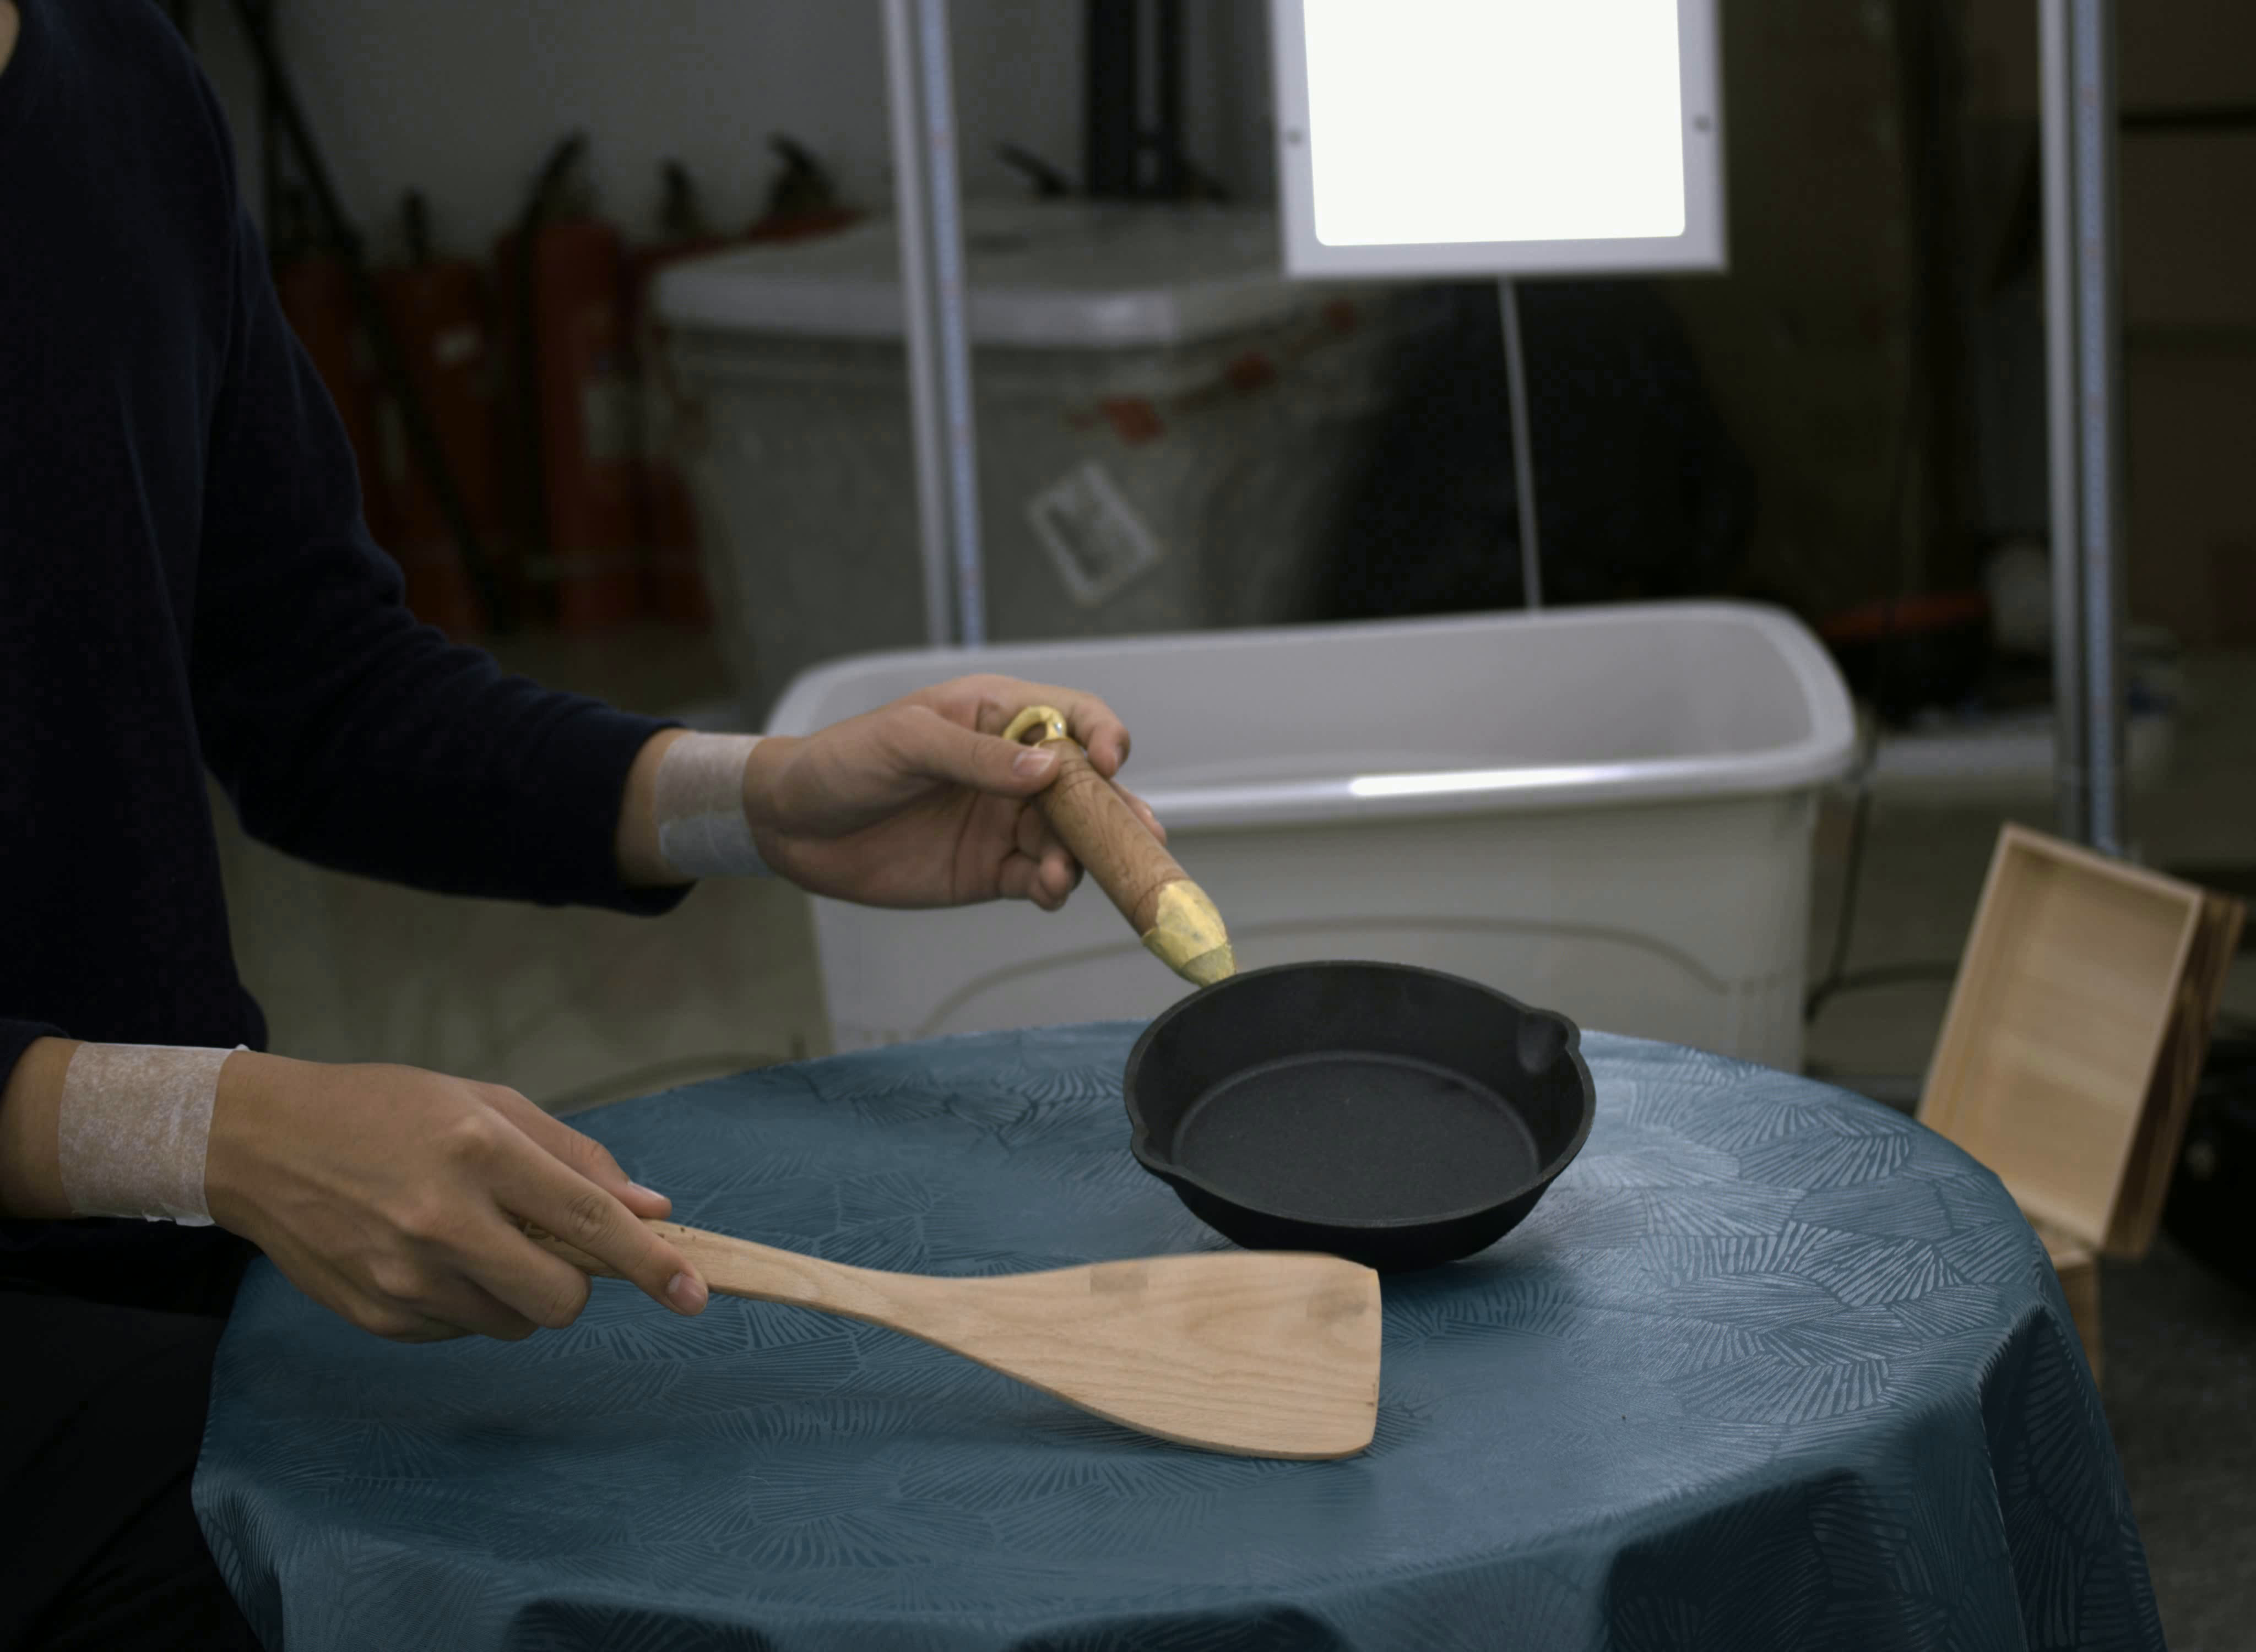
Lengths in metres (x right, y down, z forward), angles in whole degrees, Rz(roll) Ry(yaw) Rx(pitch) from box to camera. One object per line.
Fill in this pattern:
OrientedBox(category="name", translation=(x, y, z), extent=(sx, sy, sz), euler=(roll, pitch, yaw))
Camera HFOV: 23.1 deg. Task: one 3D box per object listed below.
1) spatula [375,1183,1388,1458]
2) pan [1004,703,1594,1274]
OrientedBox(category="spatula", translation=(-0.076, 0.139, 1.689), extent=(0.330, 0.016, 0.079), euler=(8, 51, 14))
OrientedBox(category="pan", translation=(0.038, 0.052, 1.894), extent=(0.166, 0.050, 0.328), euler=(-15, 36, -22))
